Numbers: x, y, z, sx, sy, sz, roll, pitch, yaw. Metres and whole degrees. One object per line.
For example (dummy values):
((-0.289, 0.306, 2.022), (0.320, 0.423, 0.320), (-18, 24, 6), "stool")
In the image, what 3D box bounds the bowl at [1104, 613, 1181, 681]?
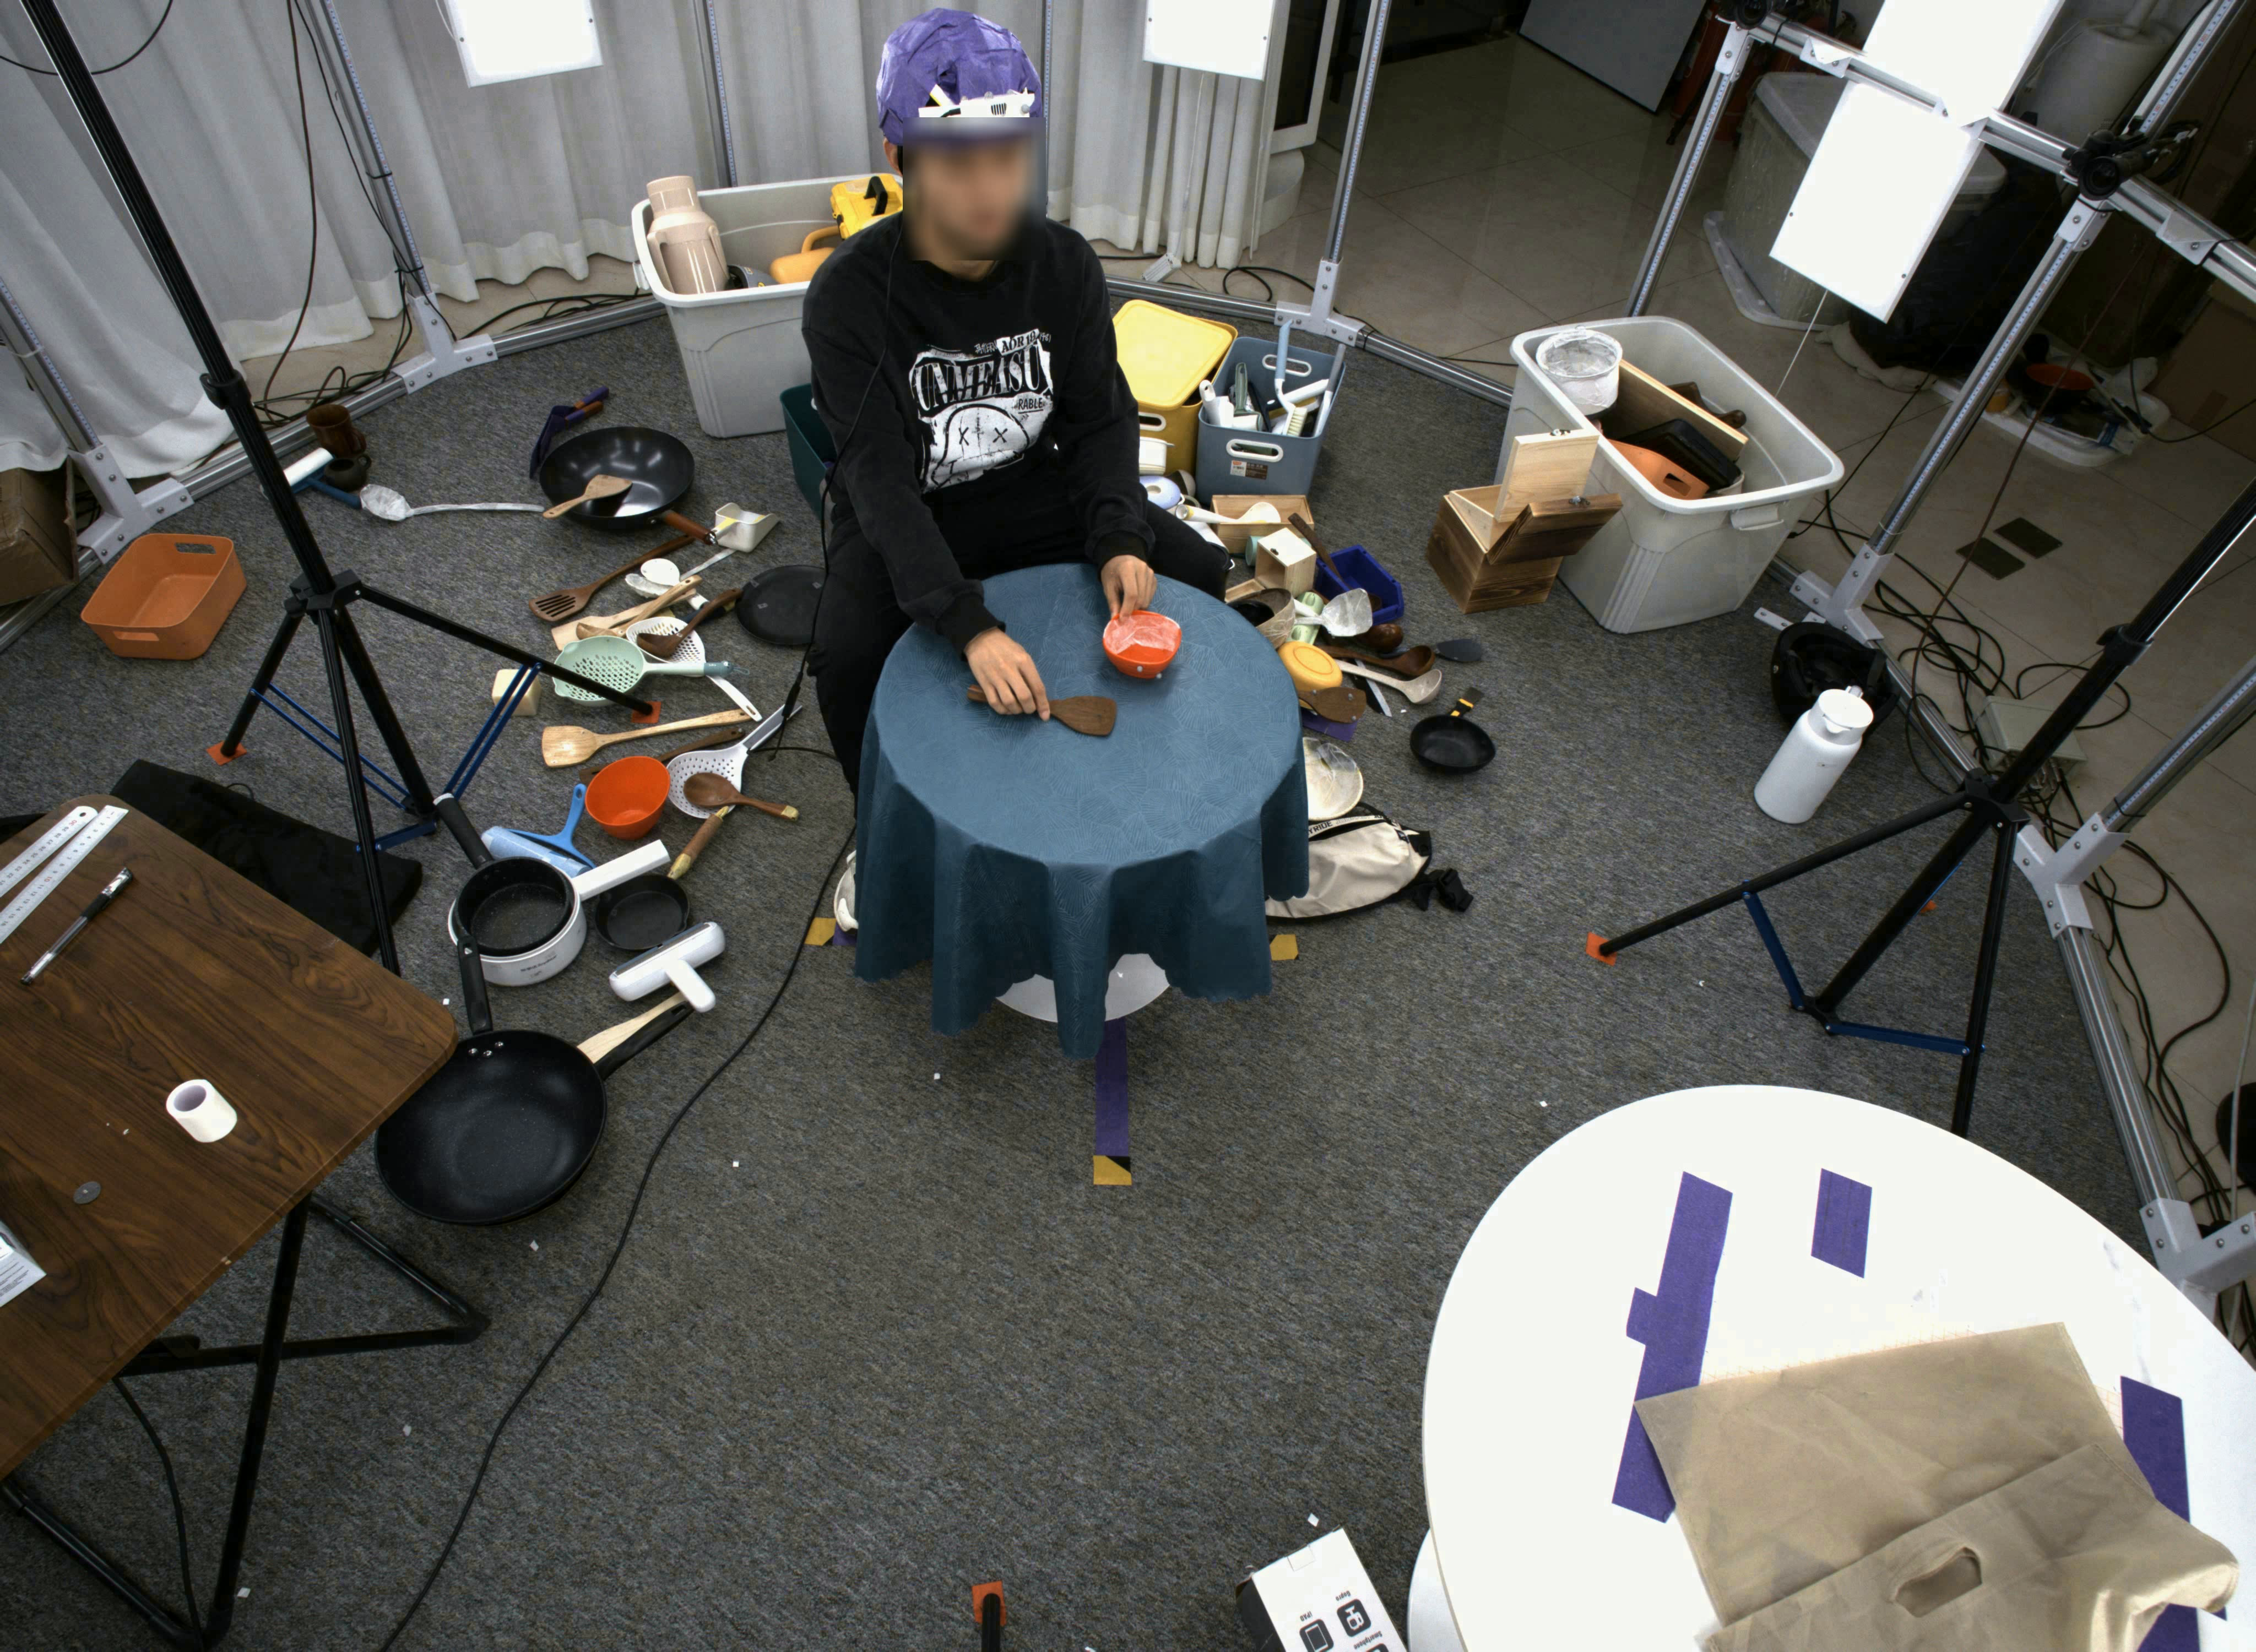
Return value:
((0.020, -0.255, 1.878), (0.119, 0.050, 0.122), (1, 50, -1), "bowl")

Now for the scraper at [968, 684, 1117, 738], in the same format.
((-0.120, -0.170, 1.811), (0.211, 0.010, 0.077), (12, 48, 0), "scraper")
